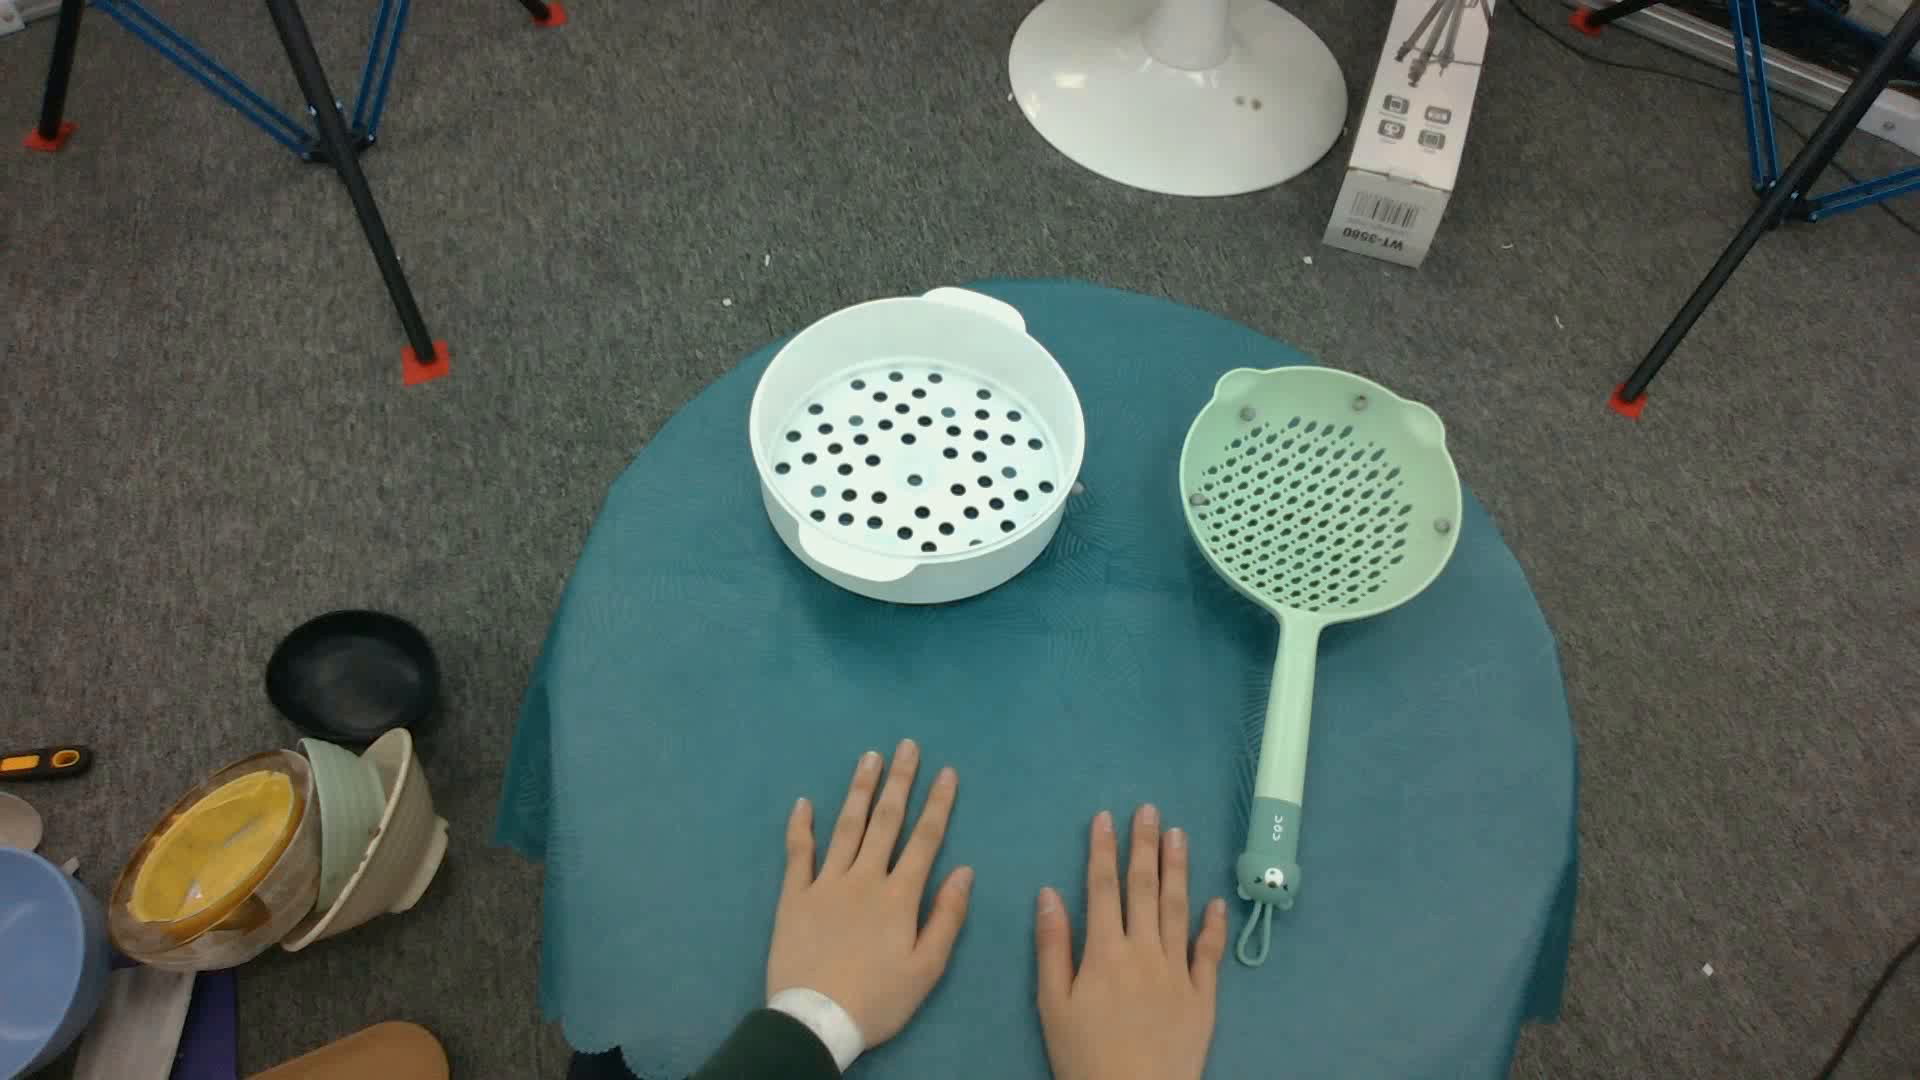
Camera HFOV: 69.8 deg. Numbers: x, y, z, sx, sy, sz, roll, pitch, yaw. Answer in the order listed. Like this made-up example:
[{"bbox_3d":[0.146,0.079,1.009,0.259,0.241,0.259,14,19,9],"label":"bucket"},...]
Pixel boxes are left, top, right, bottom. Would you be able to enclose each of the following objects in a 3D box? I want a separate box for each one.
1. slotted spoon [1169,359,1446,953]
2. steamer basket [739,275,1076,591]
[{"bbox_3d":[0.187,0.054,0.795,0.169,0.075,0.360,13,56,4],"label":"slotted spoon"},{"bbox_3d":[-0.033,-0.062,0.850,0.202,0.069,0.231,18,57,7],"label":"steamer basket"}]
